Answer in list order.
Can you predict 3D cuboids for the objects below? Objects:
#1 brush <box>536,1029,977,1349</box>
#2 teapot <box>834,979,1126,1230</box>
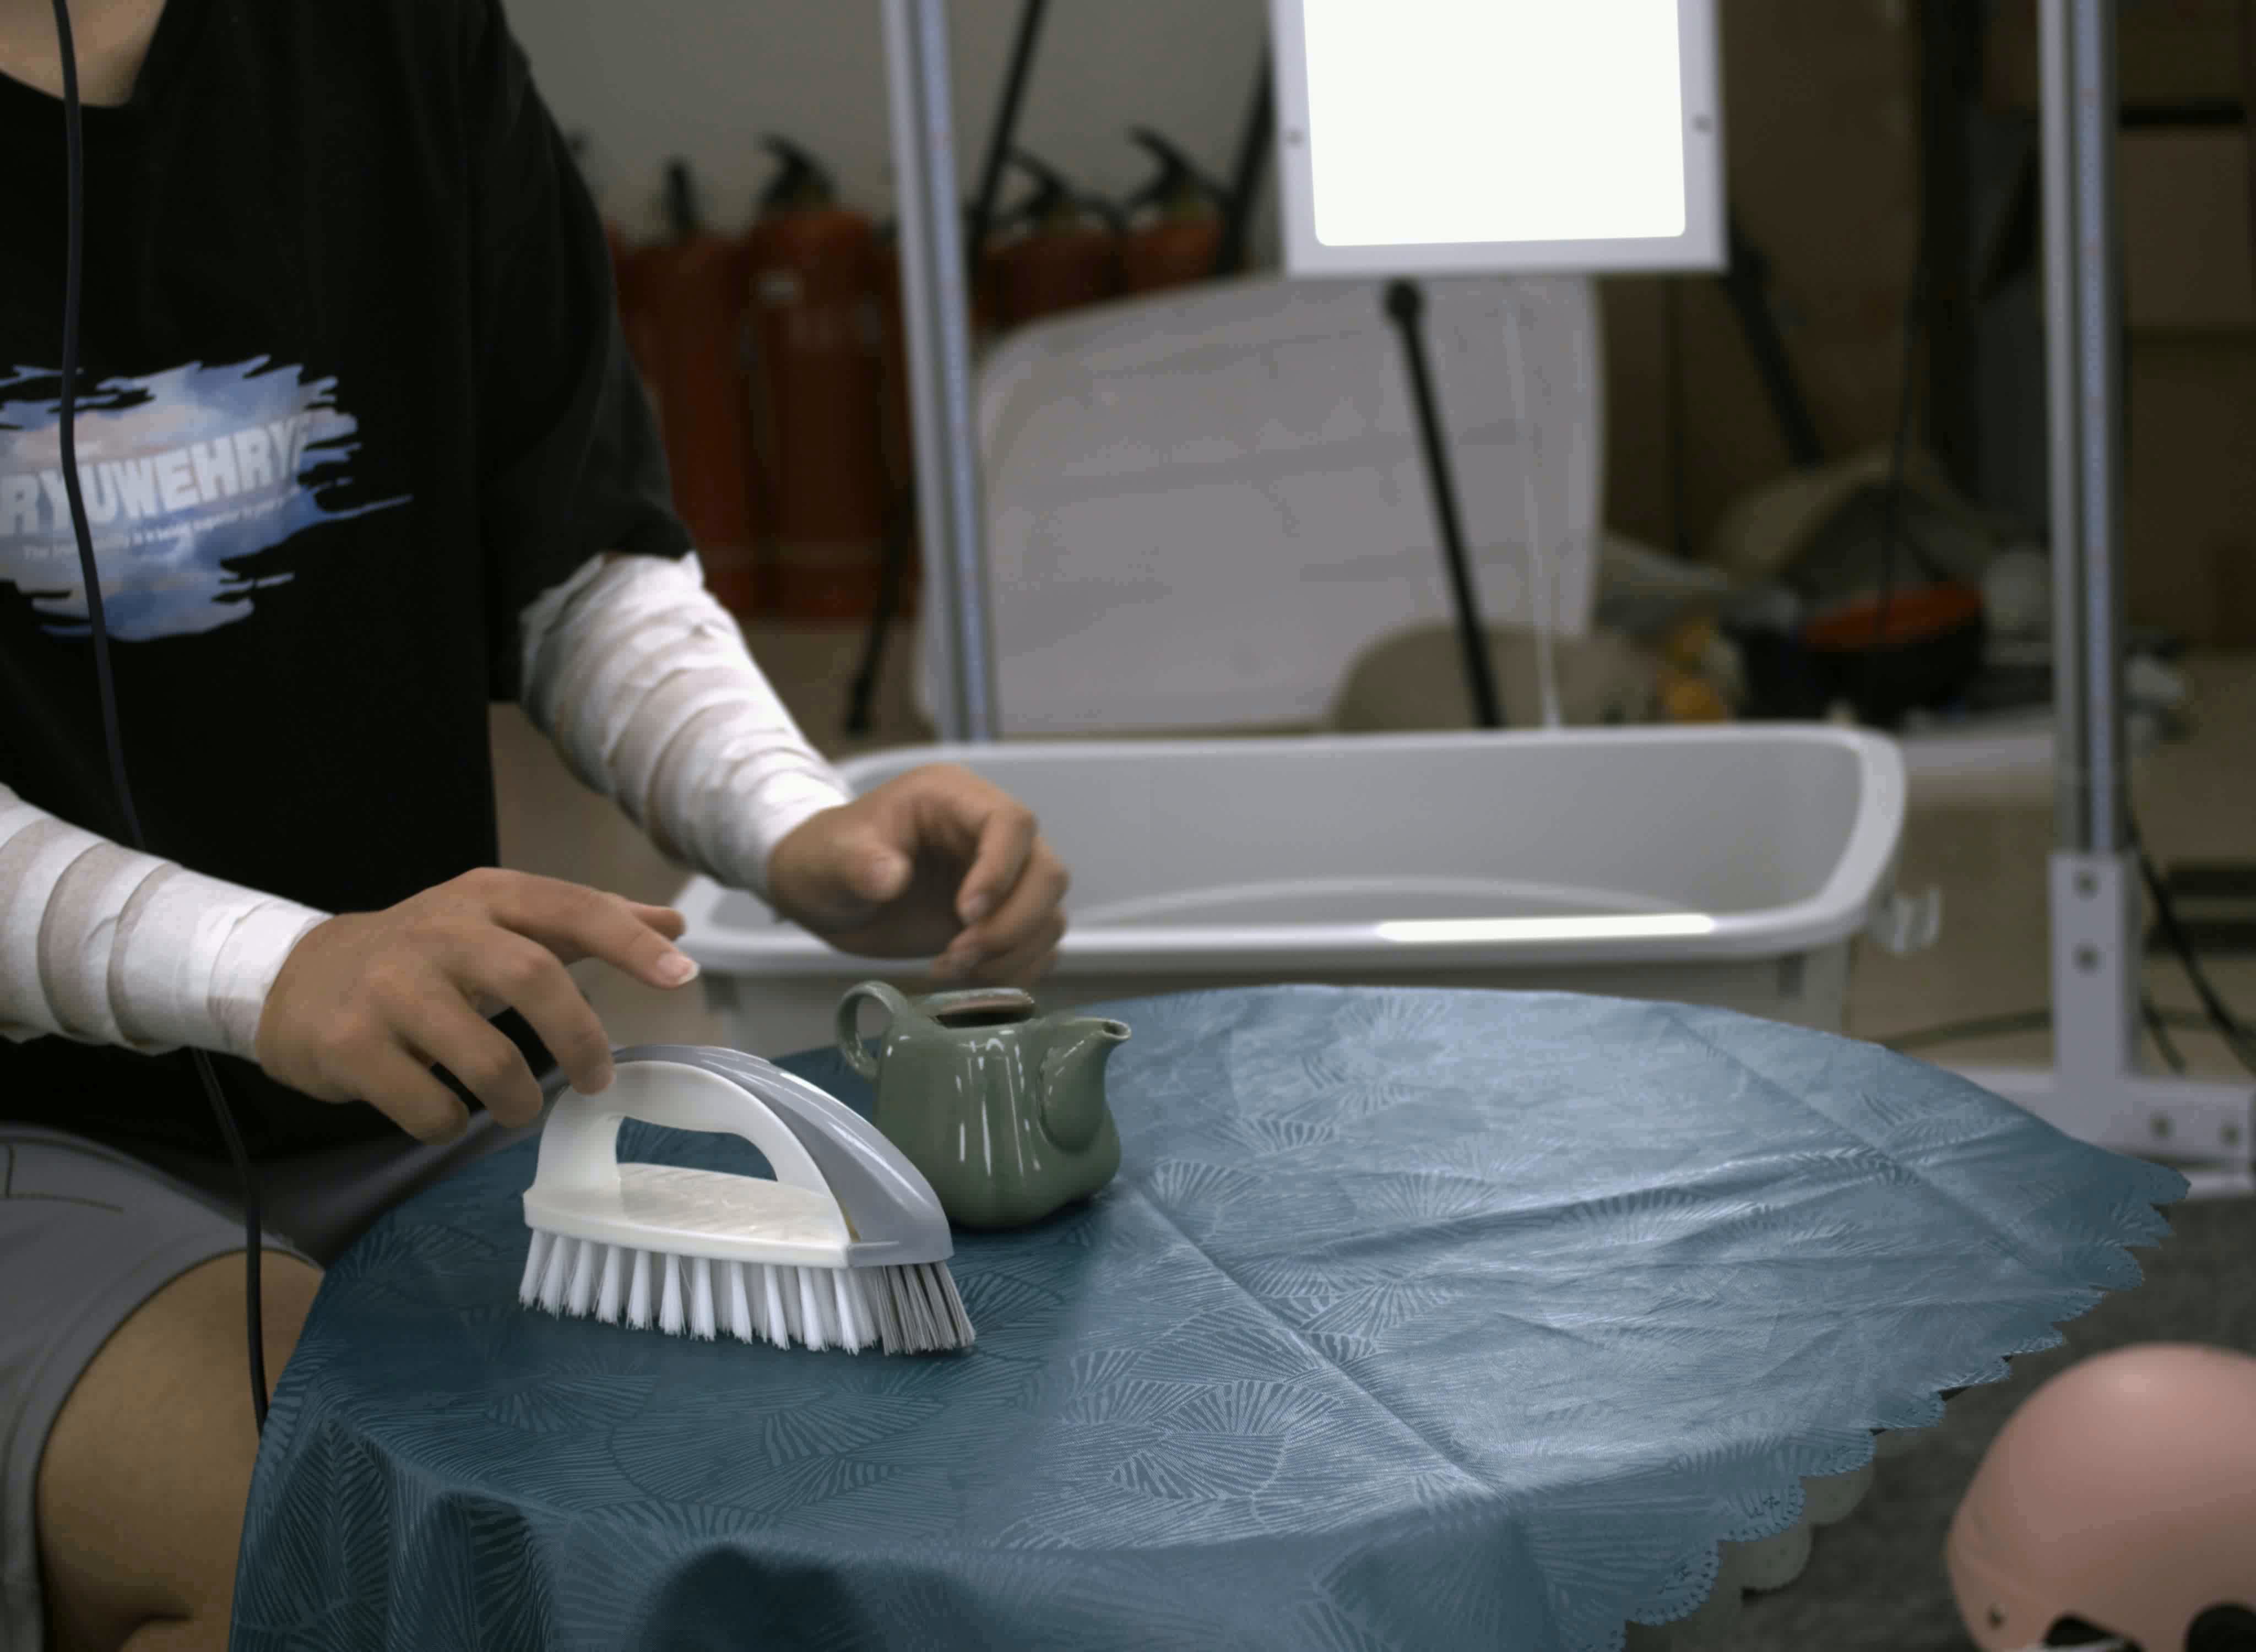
[{"bbox_3d":[-0.121,0.115,1.795,0.179,0.094,0.060,9,24,39],"label":"brush"},{"bbox_3d":[-0.049,0.095,1.894,0.135,0.075,0.078,6,16,42],"label":"teapot"}]
